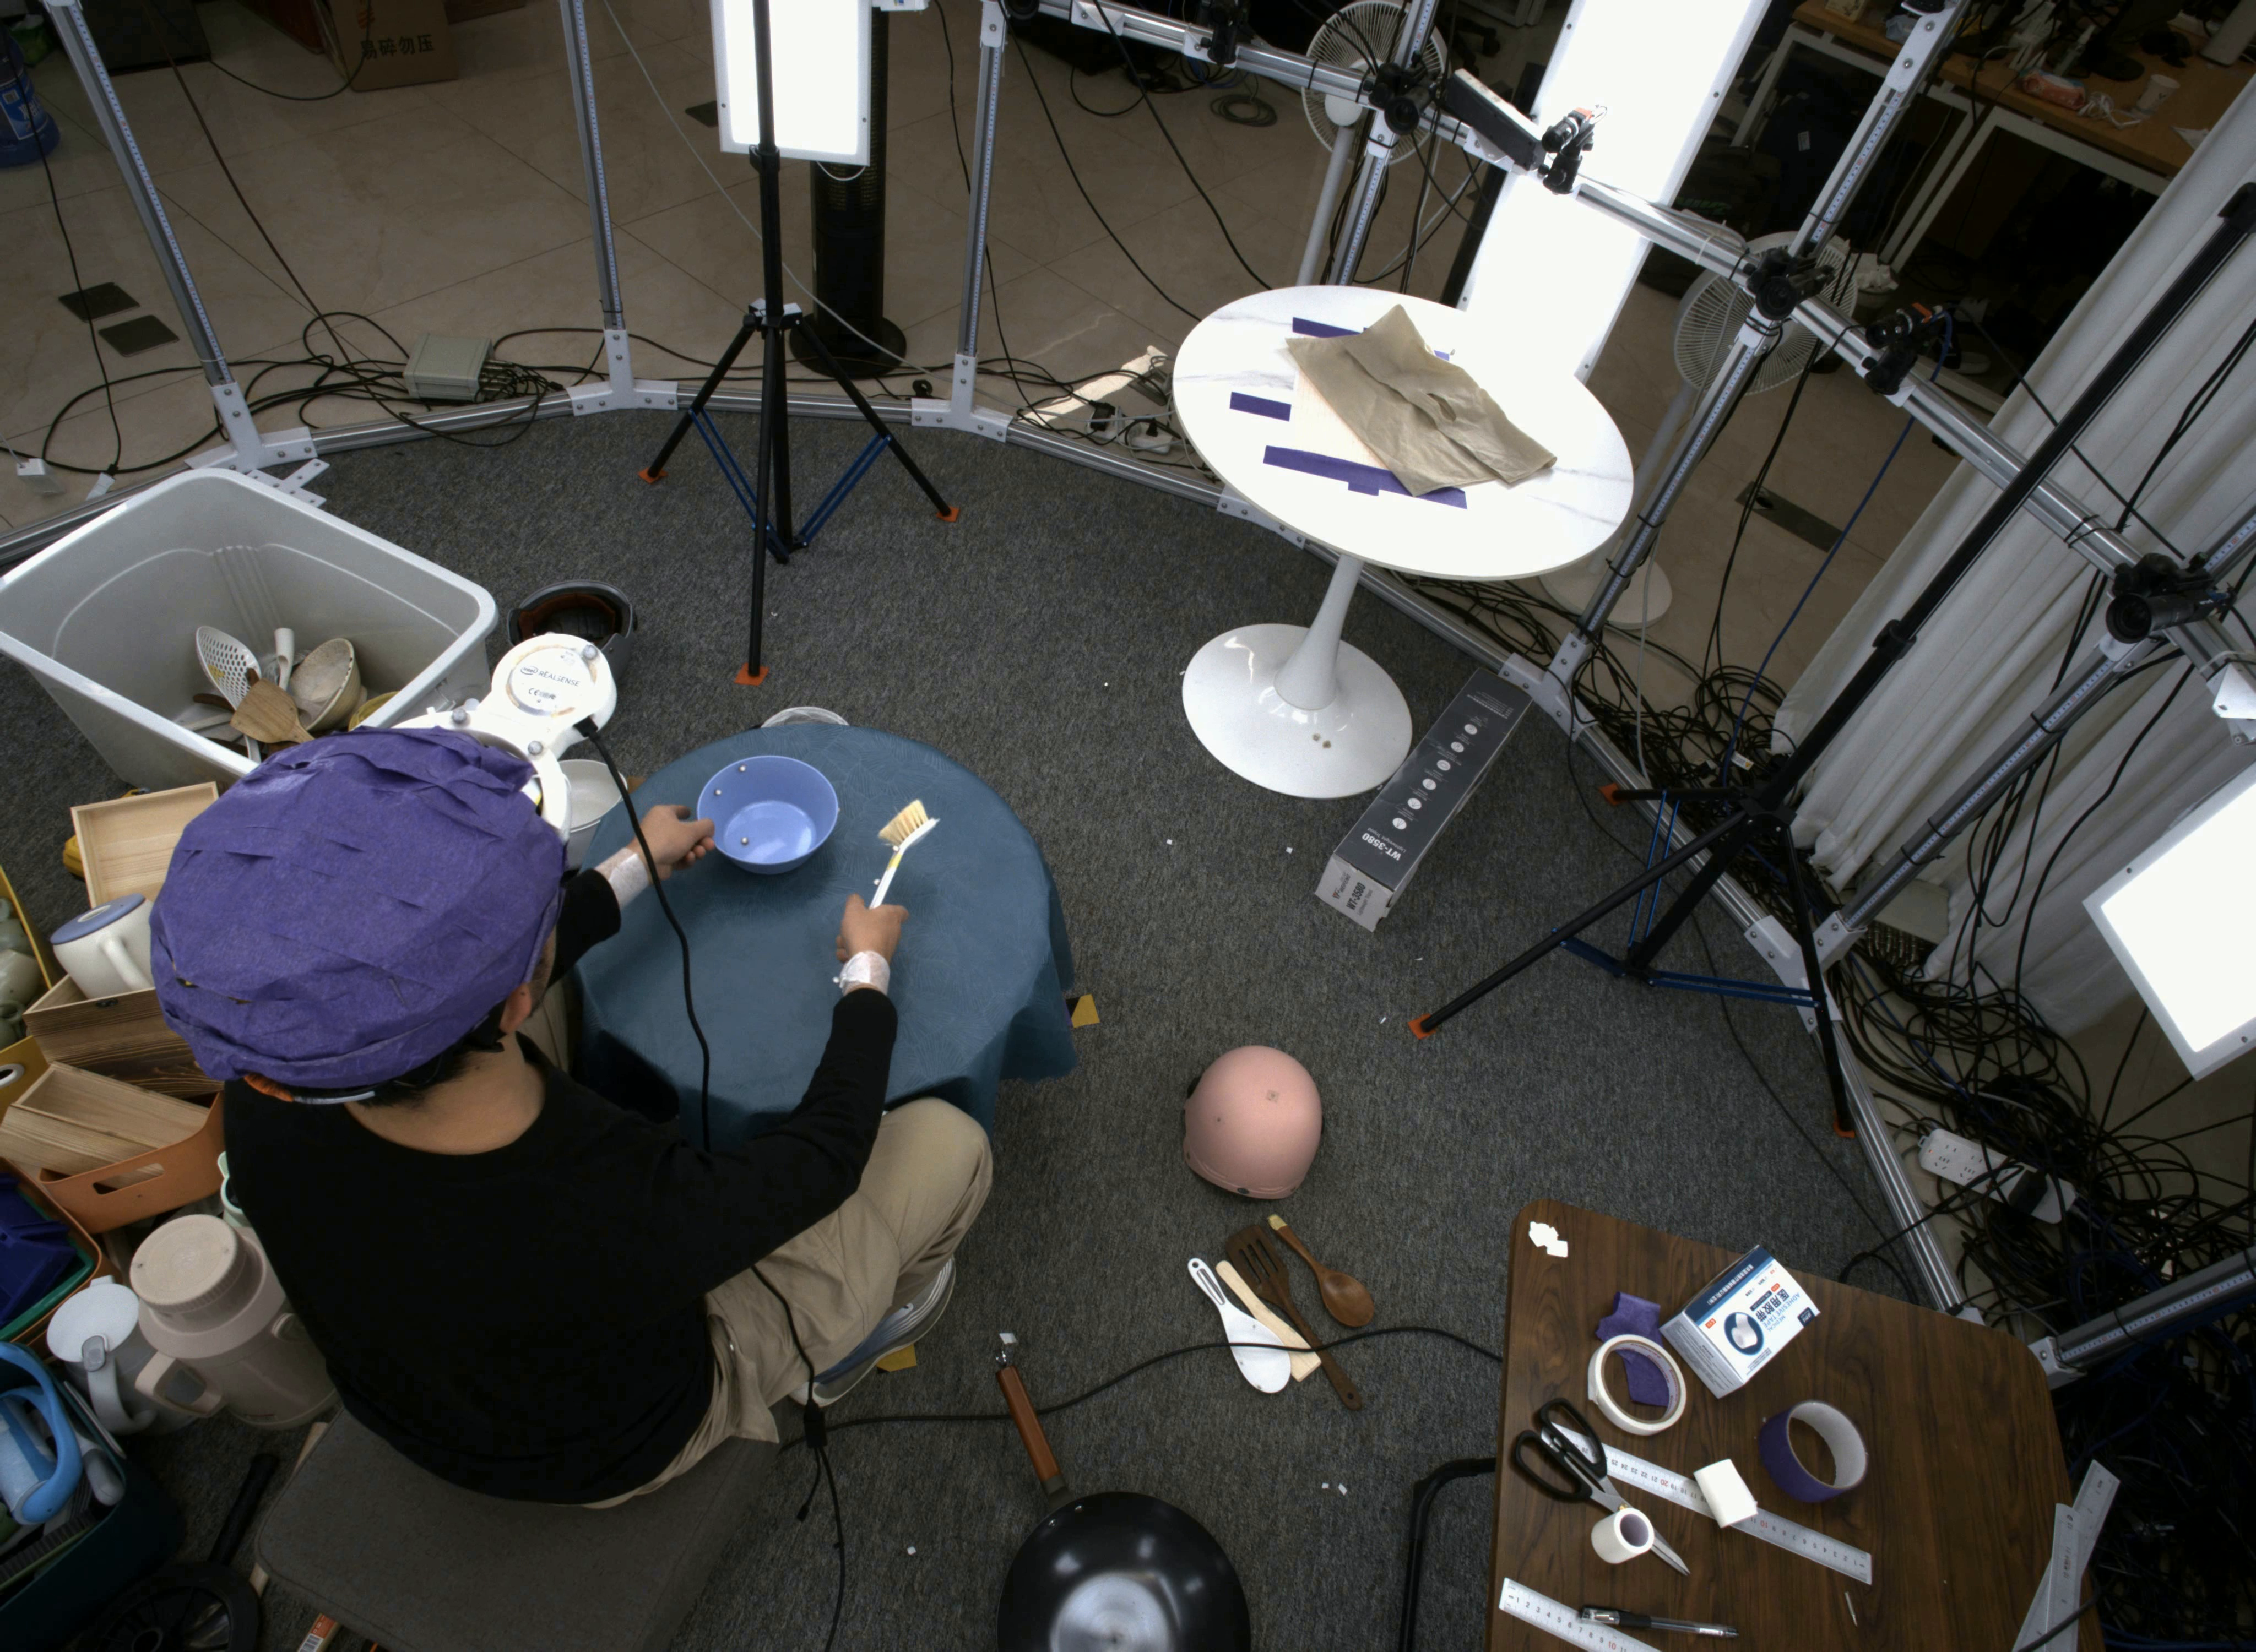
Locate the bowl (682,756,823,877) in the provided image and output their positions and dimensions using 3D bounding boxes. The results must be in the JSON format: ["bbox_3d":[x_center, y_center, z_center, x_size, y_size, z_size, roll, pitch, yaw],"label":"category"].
[{"bbox_3d":[-0.479,-0.002,1.659,0.175,0.072,0.173,7,52,-8],"label":"bowl"}]

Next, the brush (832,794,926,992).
[{"bbox_3d":[-0.320,0.072,1.571,0.057,0.068,0.264,29,58,-12],"label":"brush"}]
